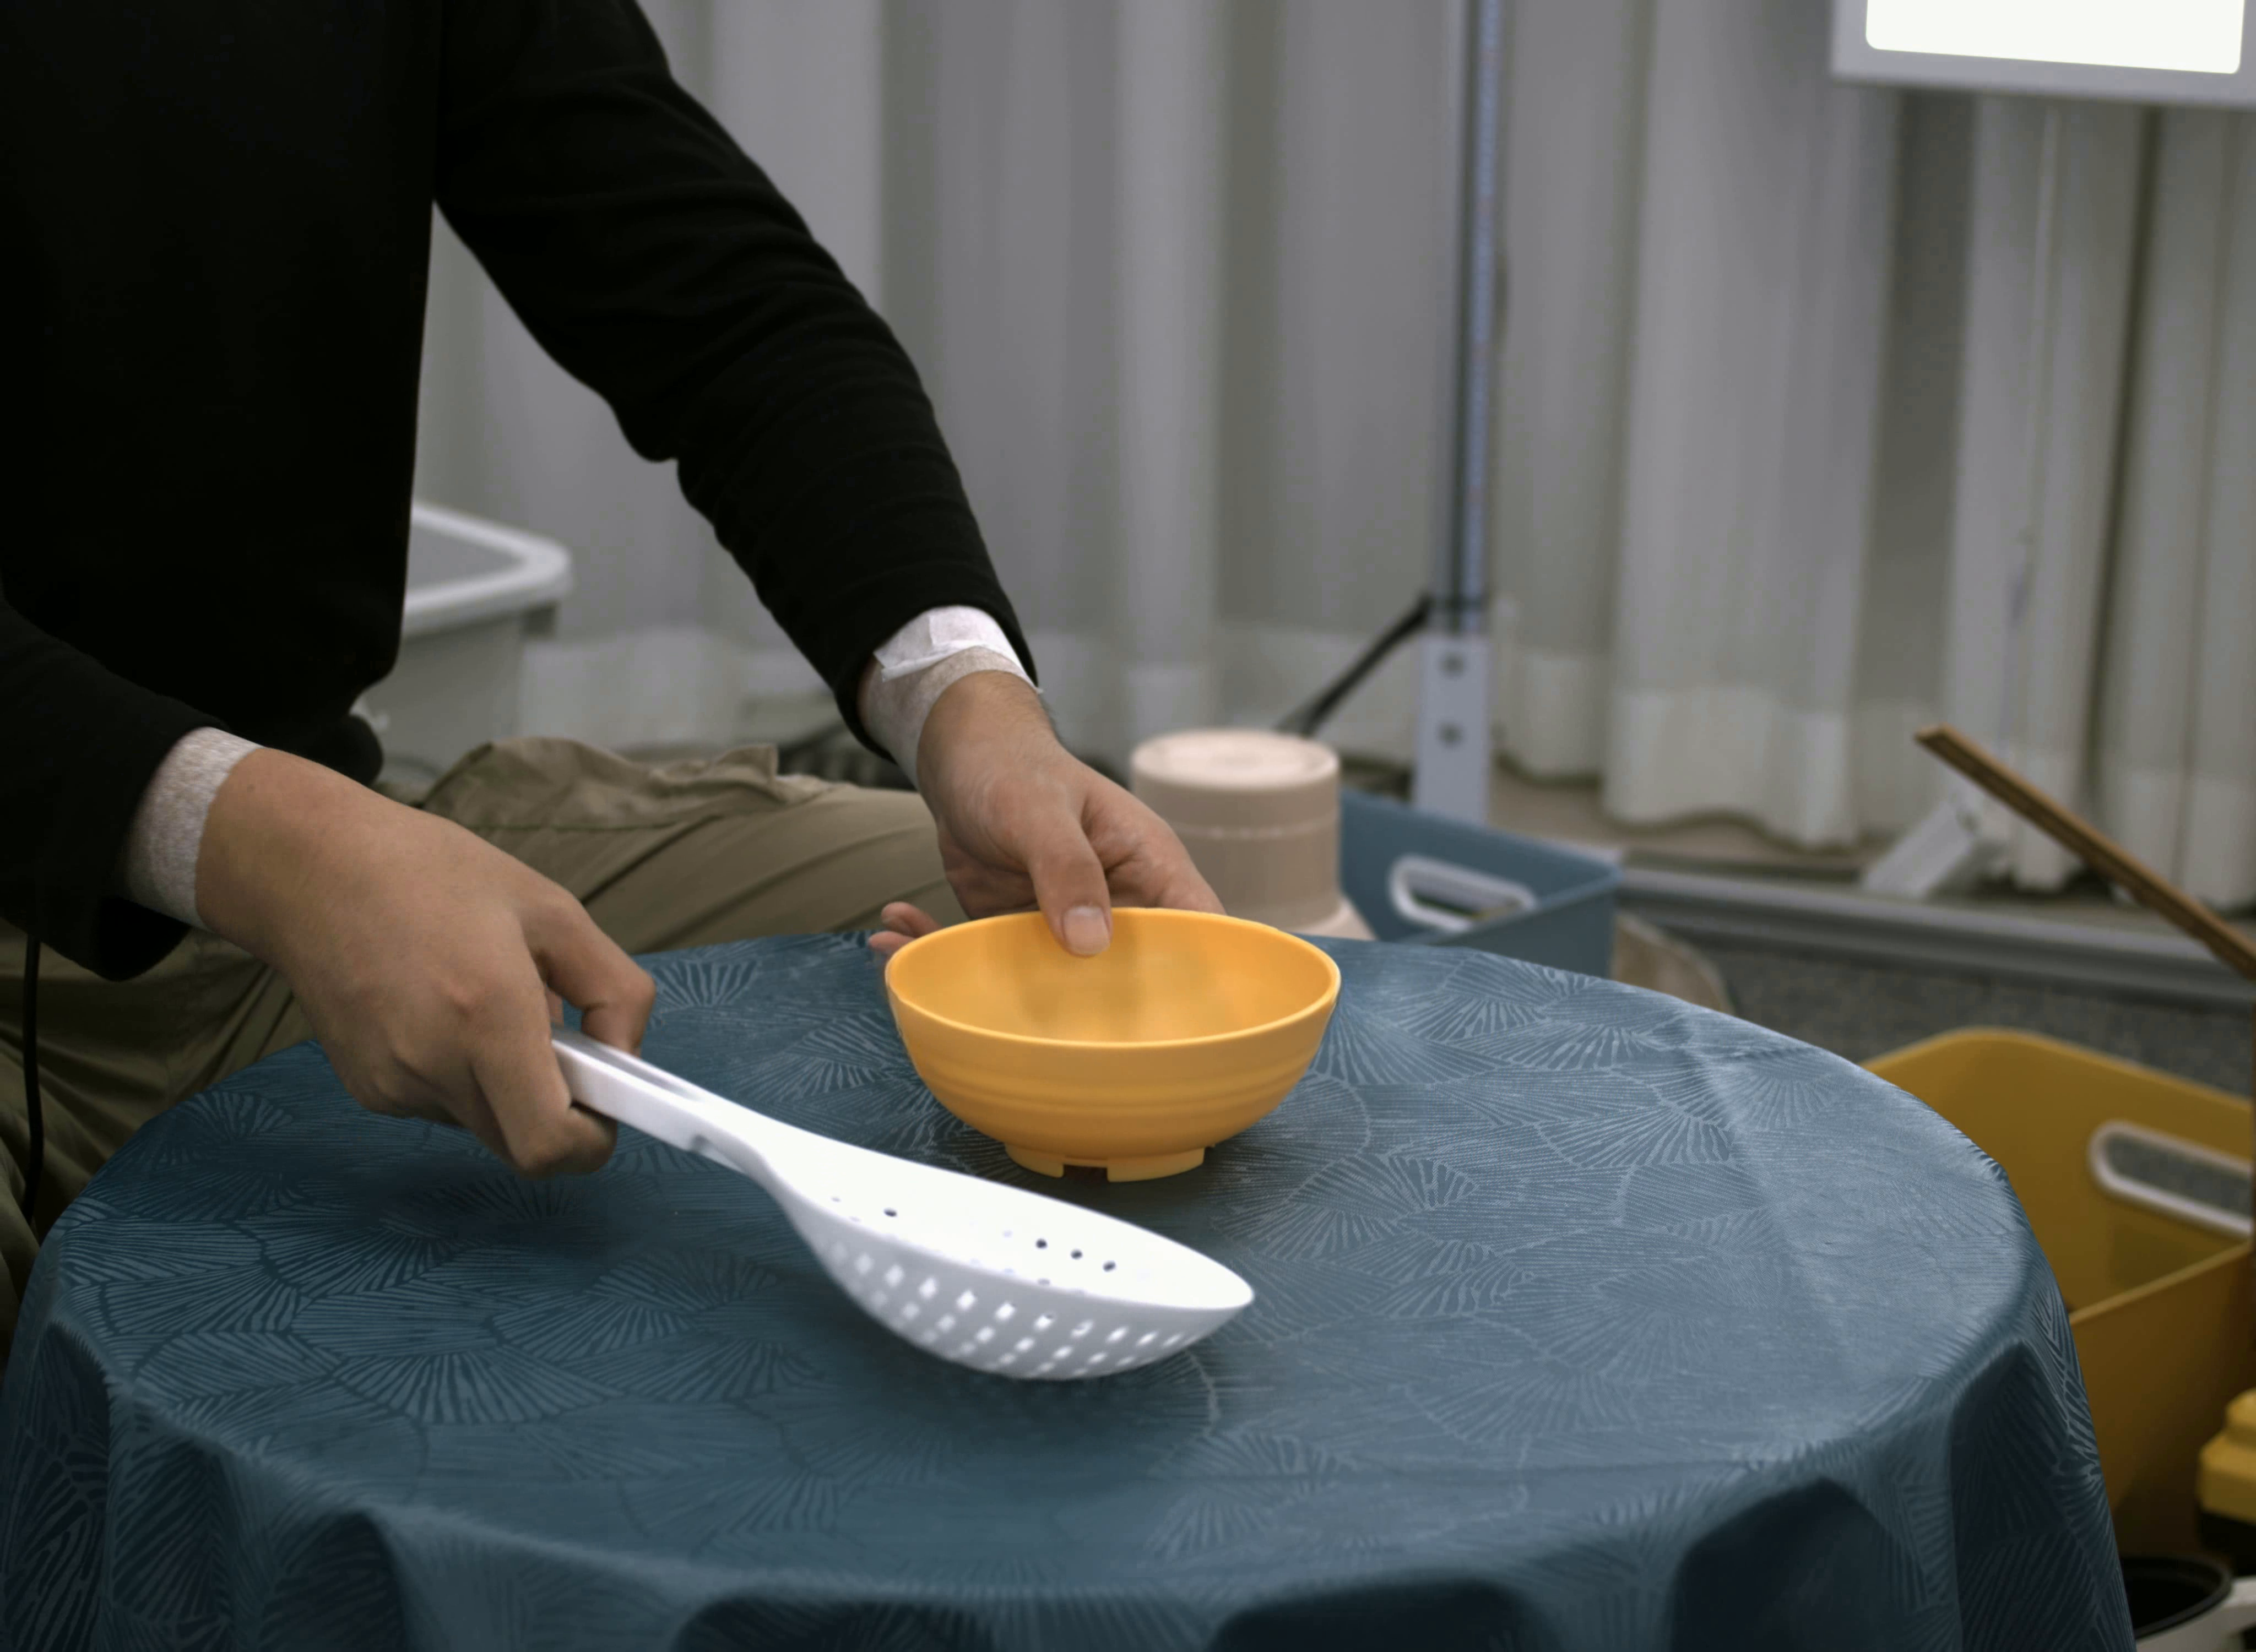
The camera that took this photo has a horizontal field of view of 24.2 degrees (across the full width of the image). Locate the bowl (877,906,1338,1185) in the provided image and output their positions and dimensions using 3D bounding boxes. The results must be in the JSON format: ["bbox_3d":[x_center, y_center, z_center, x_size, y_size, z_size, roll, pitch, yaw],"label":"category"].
[{"bbox_3d":[-0.007,0.074,1.652,0.145,0.060,0.144,2,16,0],"label":"bowl"}]

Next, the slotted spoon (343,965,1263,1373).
[{"bbox_3d":[-0.109,0.092,1.529,0.345,0.046,0.137,24,7,38],"label":"slotted spoon"}]
